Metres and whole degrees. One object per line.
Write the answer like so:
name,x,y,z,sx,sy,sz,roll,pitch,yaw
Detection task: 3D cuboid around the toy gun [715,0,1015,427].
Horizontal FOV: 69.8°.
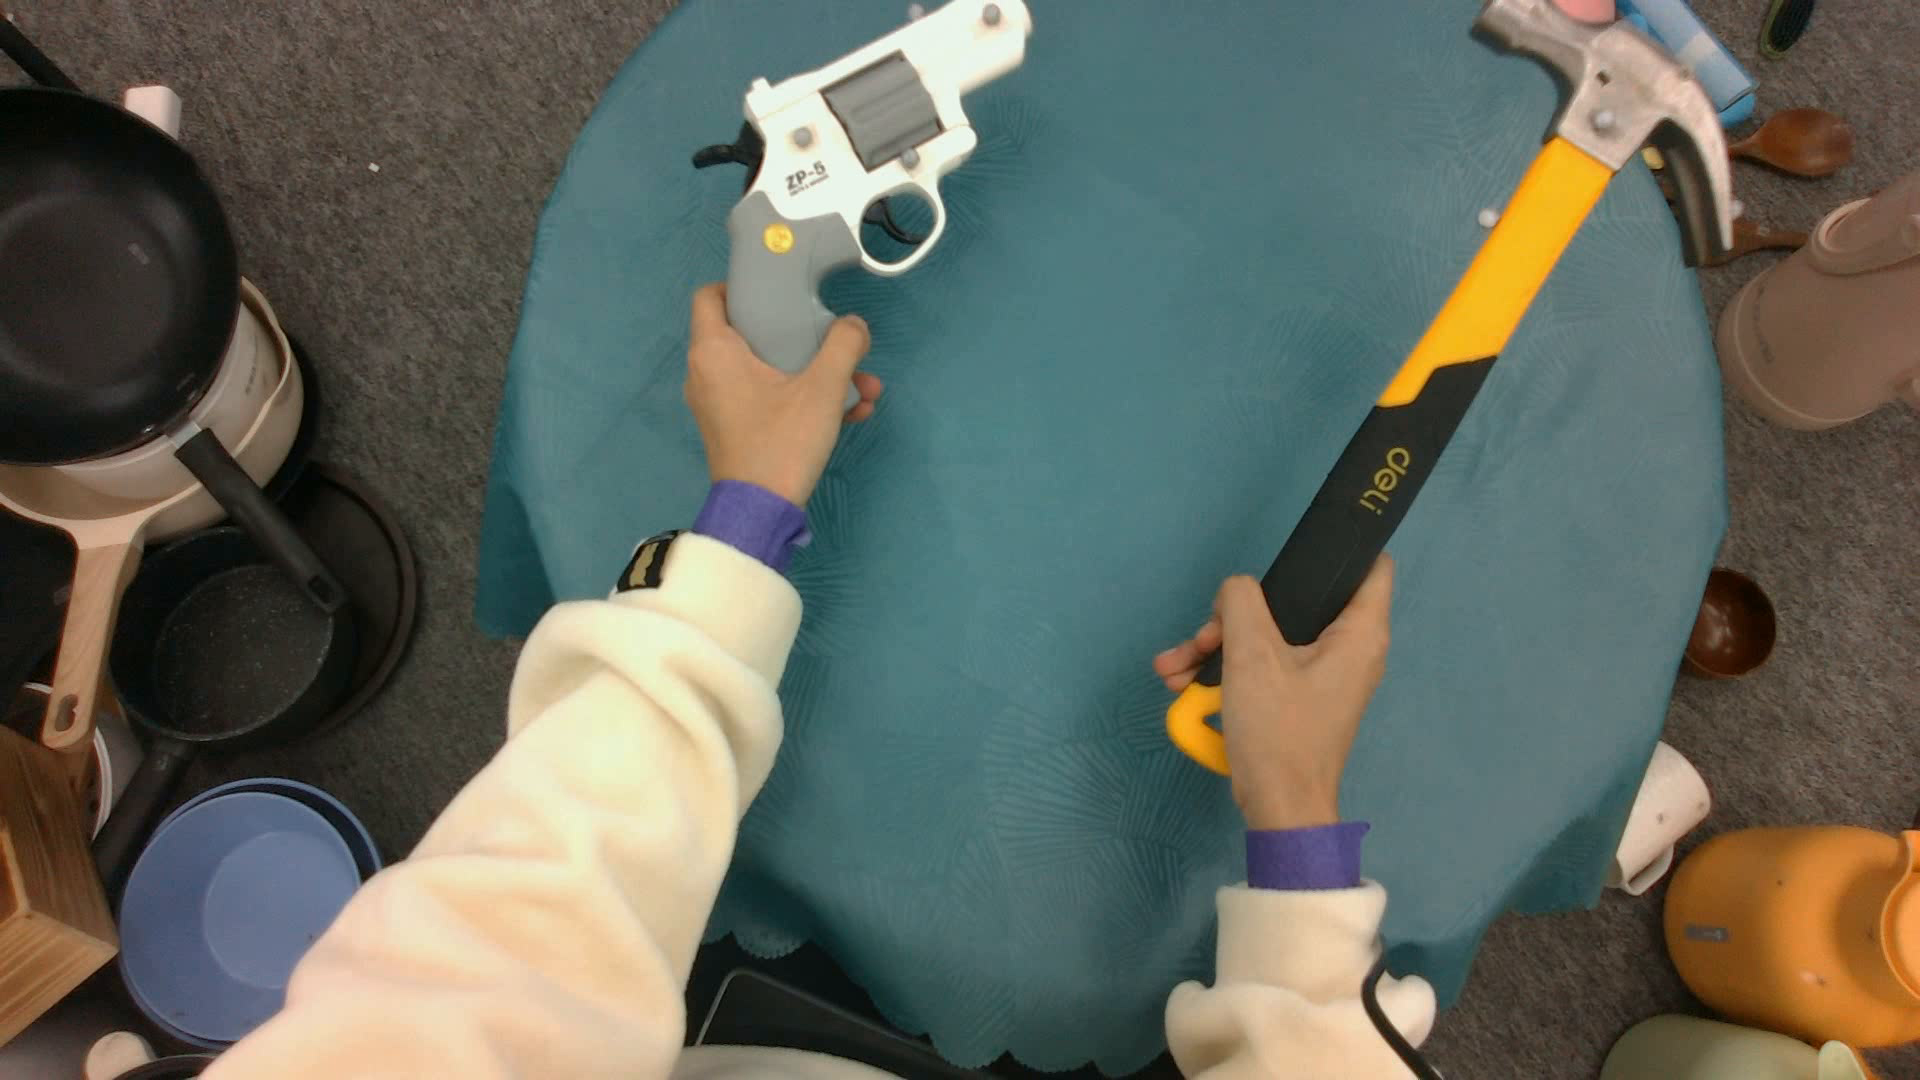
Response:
toy gun,-0.039,-0.156,0.619,0.209,0.039,0.141,-33,91,-12

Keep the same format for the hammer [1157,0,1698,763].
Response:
hammer,0.181,-0.059,0.564,0.131,0.032,0.338,31,89,-1
